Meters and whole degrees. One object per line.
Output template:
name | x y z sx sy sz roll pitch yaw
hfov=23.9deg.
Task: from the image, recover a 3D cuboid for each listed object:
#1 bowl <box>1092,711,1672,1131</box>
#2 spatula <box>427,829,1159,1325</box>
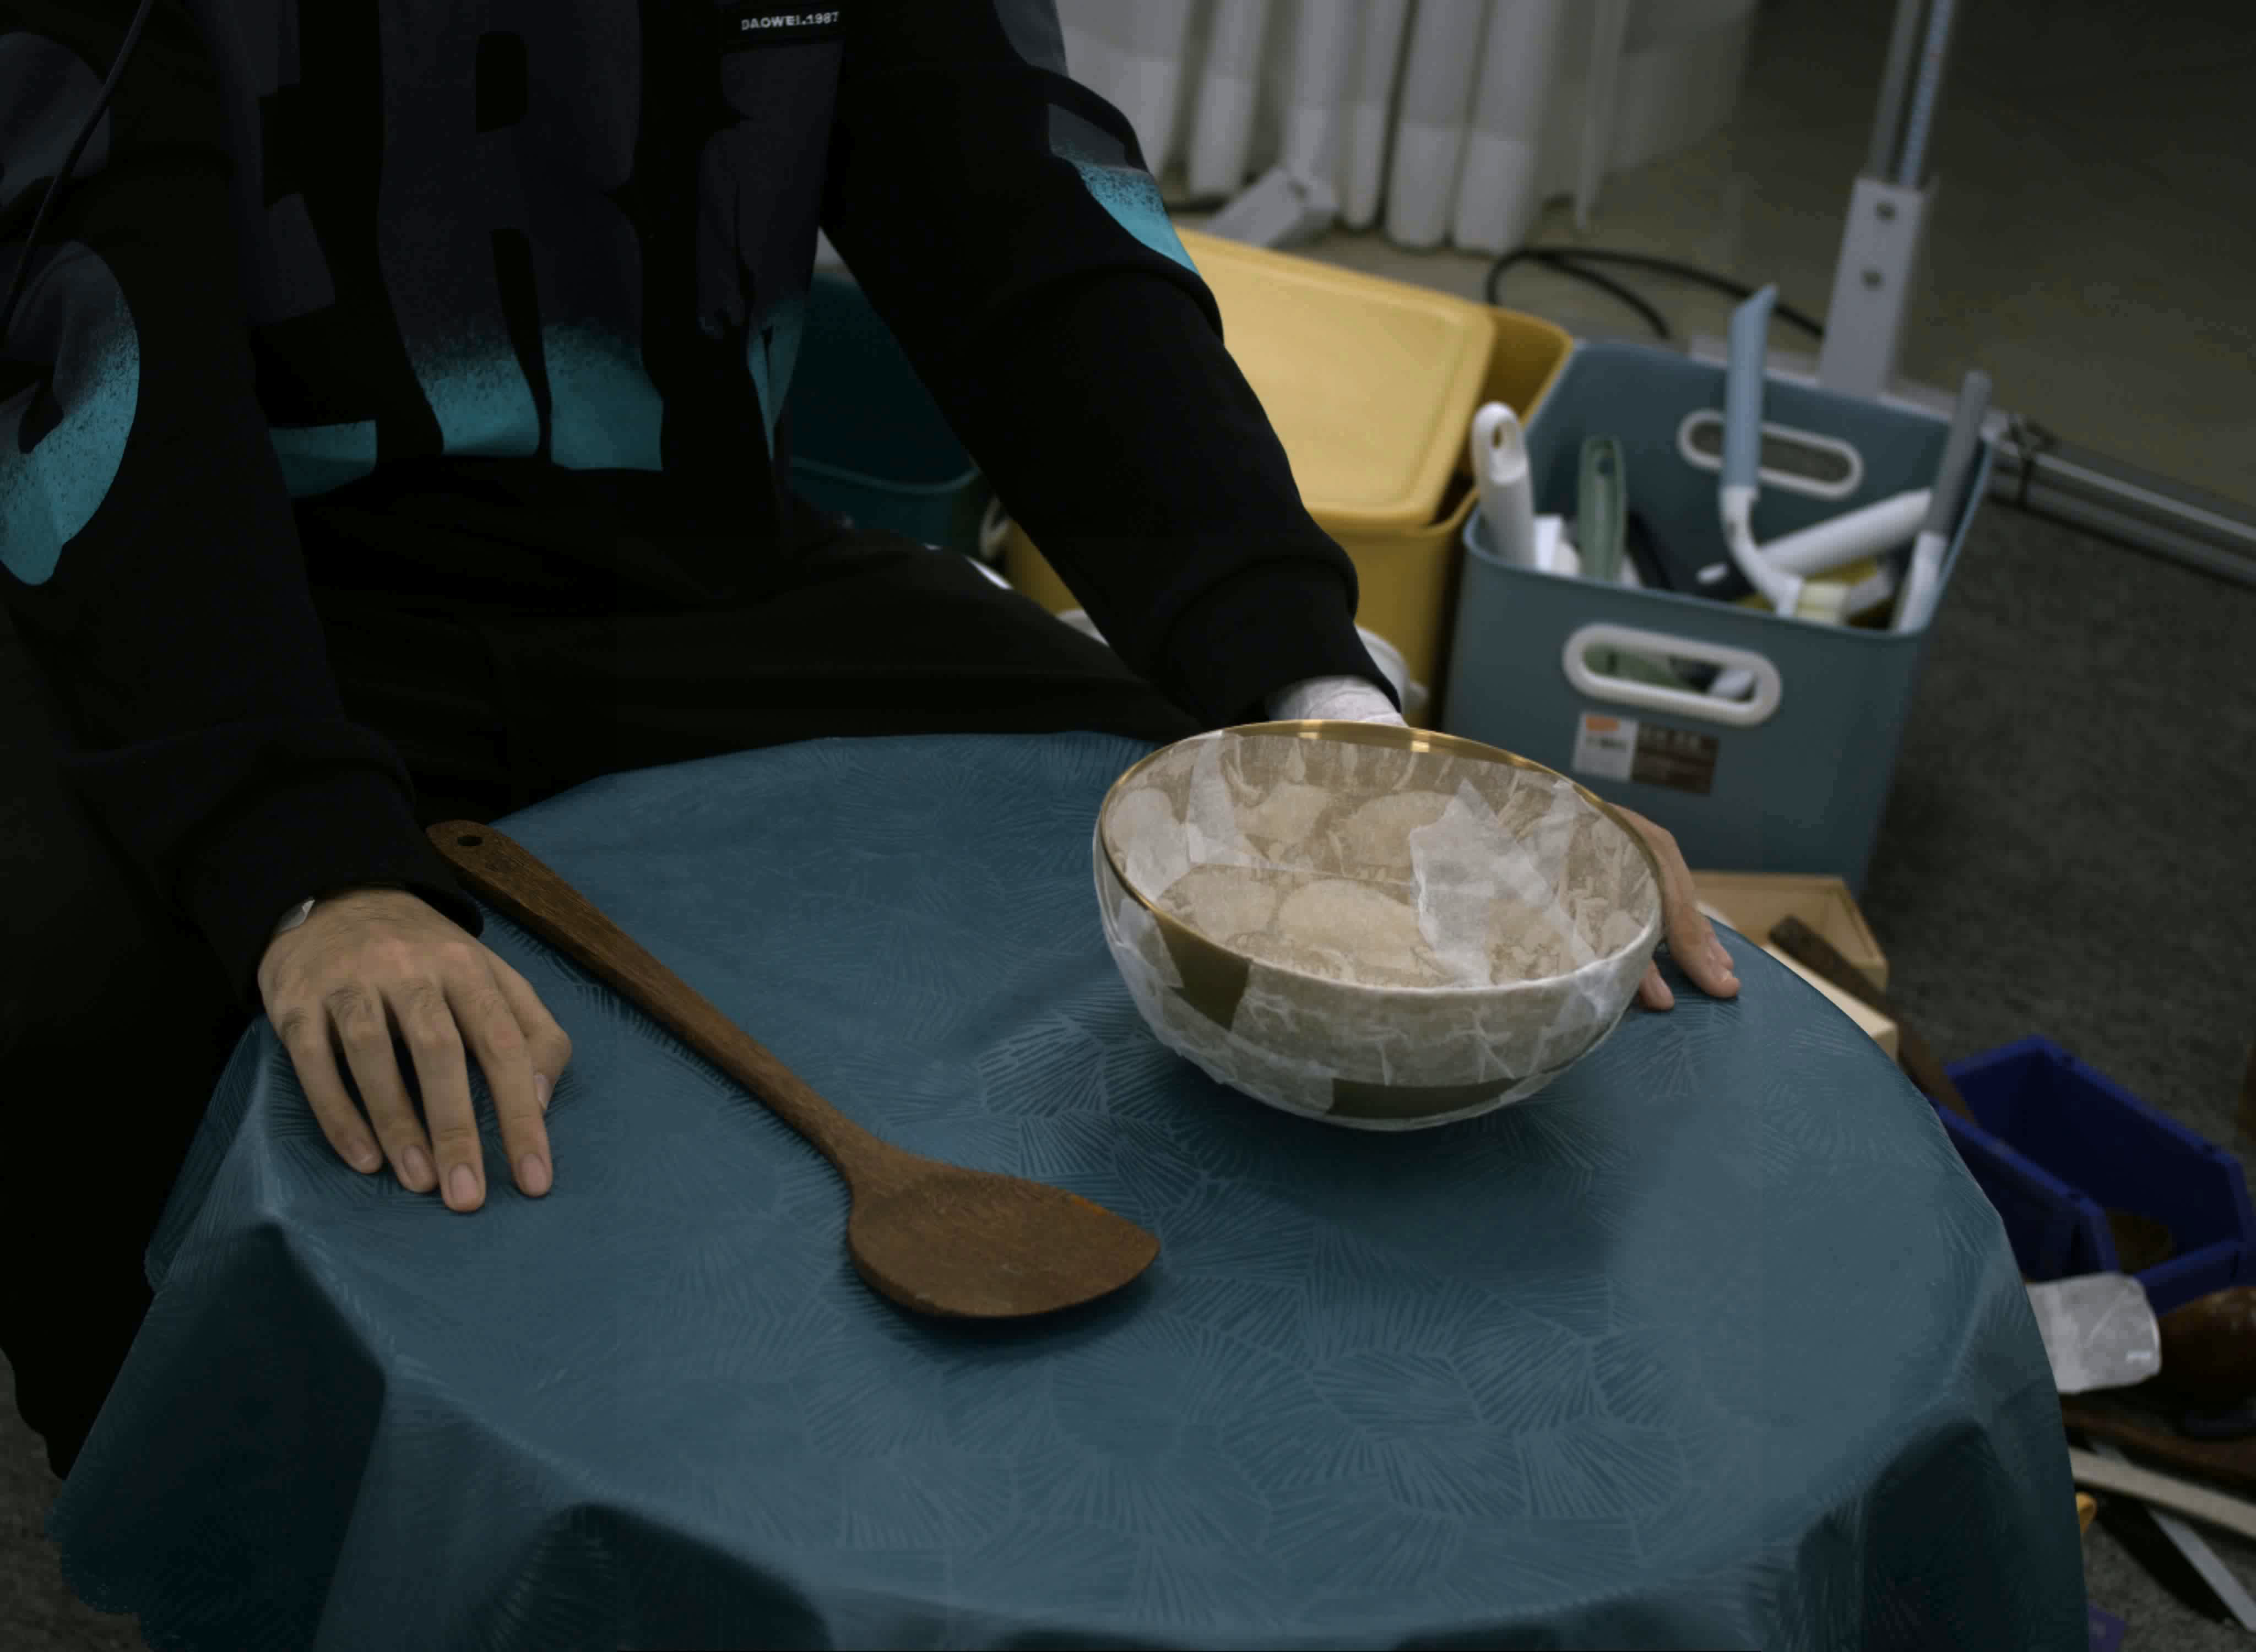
bowl | 0.086 0.045 1.871 0.214 0.094 0.216 3 27 -2
spatula | -0.136 0.079 1.843 0.095 0.016 0.389 -14 33 -36
